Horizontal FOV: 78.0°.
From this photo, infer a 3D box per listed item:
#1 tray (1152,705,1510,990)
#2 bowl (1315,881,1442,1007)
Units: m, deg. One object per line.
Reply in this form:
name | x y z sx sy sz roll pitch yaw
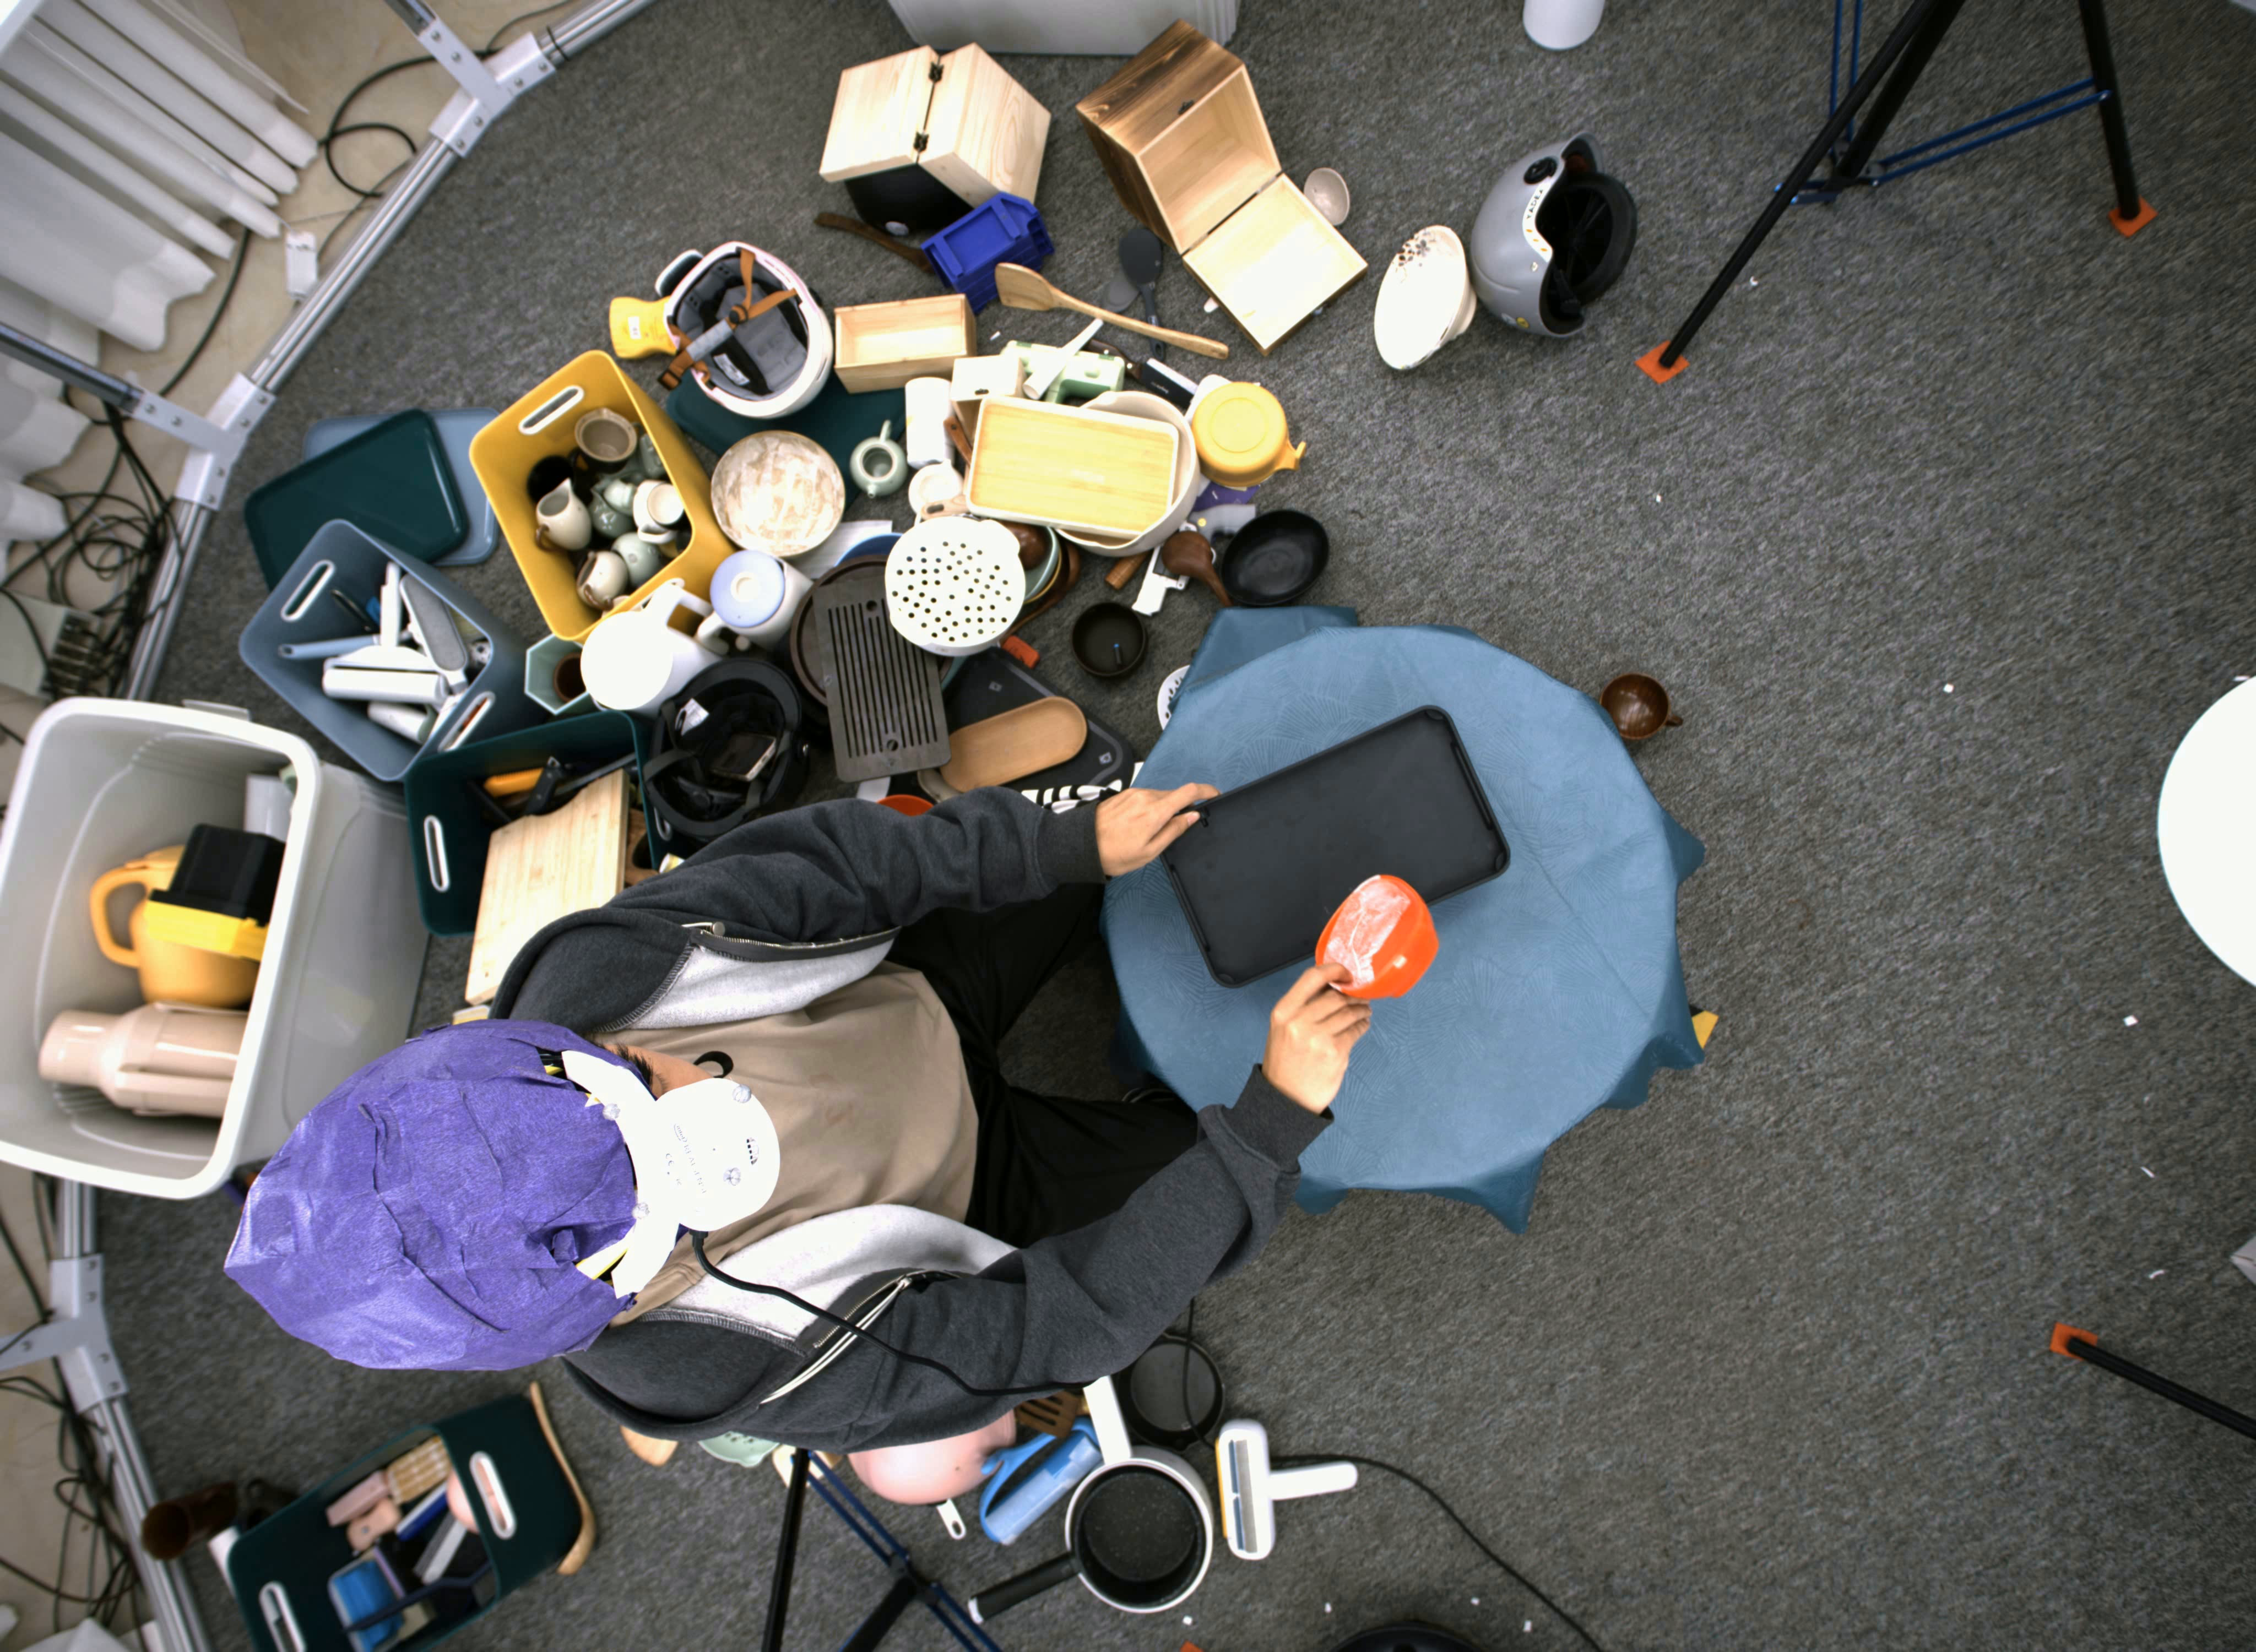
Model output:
tray | 0.199 0.021 1.371 0.319 0.037 0.184 -24 89 6
bowl | 0.225 0.109 1.199 0.121 0.052 0.116 -27 43 27
